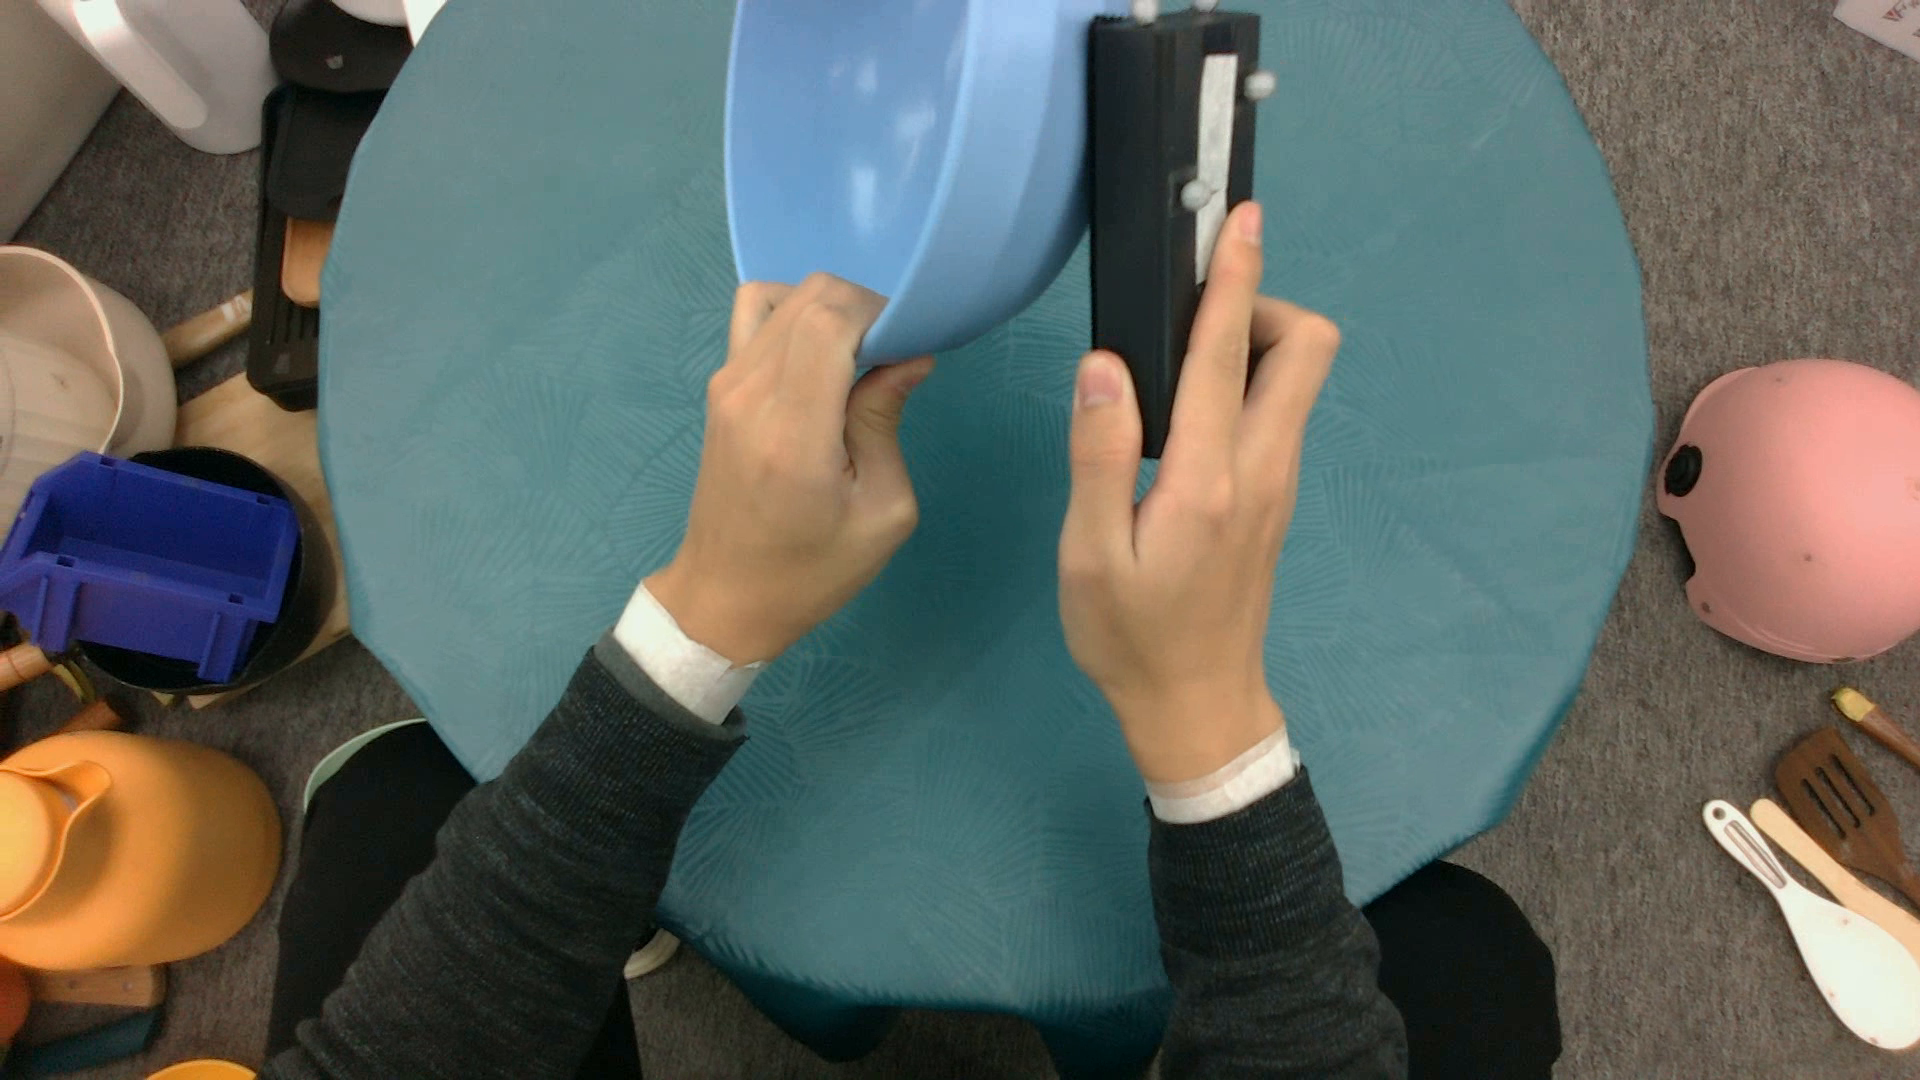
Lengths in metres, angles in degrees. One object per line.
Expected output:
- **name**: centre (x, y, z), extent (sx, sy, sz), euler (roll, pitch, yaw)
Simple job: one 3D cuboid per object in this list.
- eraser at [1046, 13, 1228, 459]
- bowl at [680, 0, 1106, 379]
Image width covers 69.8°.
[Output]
- **eraser**: centre (0.056, -0.091, 0.419), extent (0.030, 0.125, 0.054), euler (16, 33, 40)
- **bowl**: centre (-0.014, -0.153, 0.478), extent (0.095, 0.195, 0.197), euler (-2, 74, -36)
